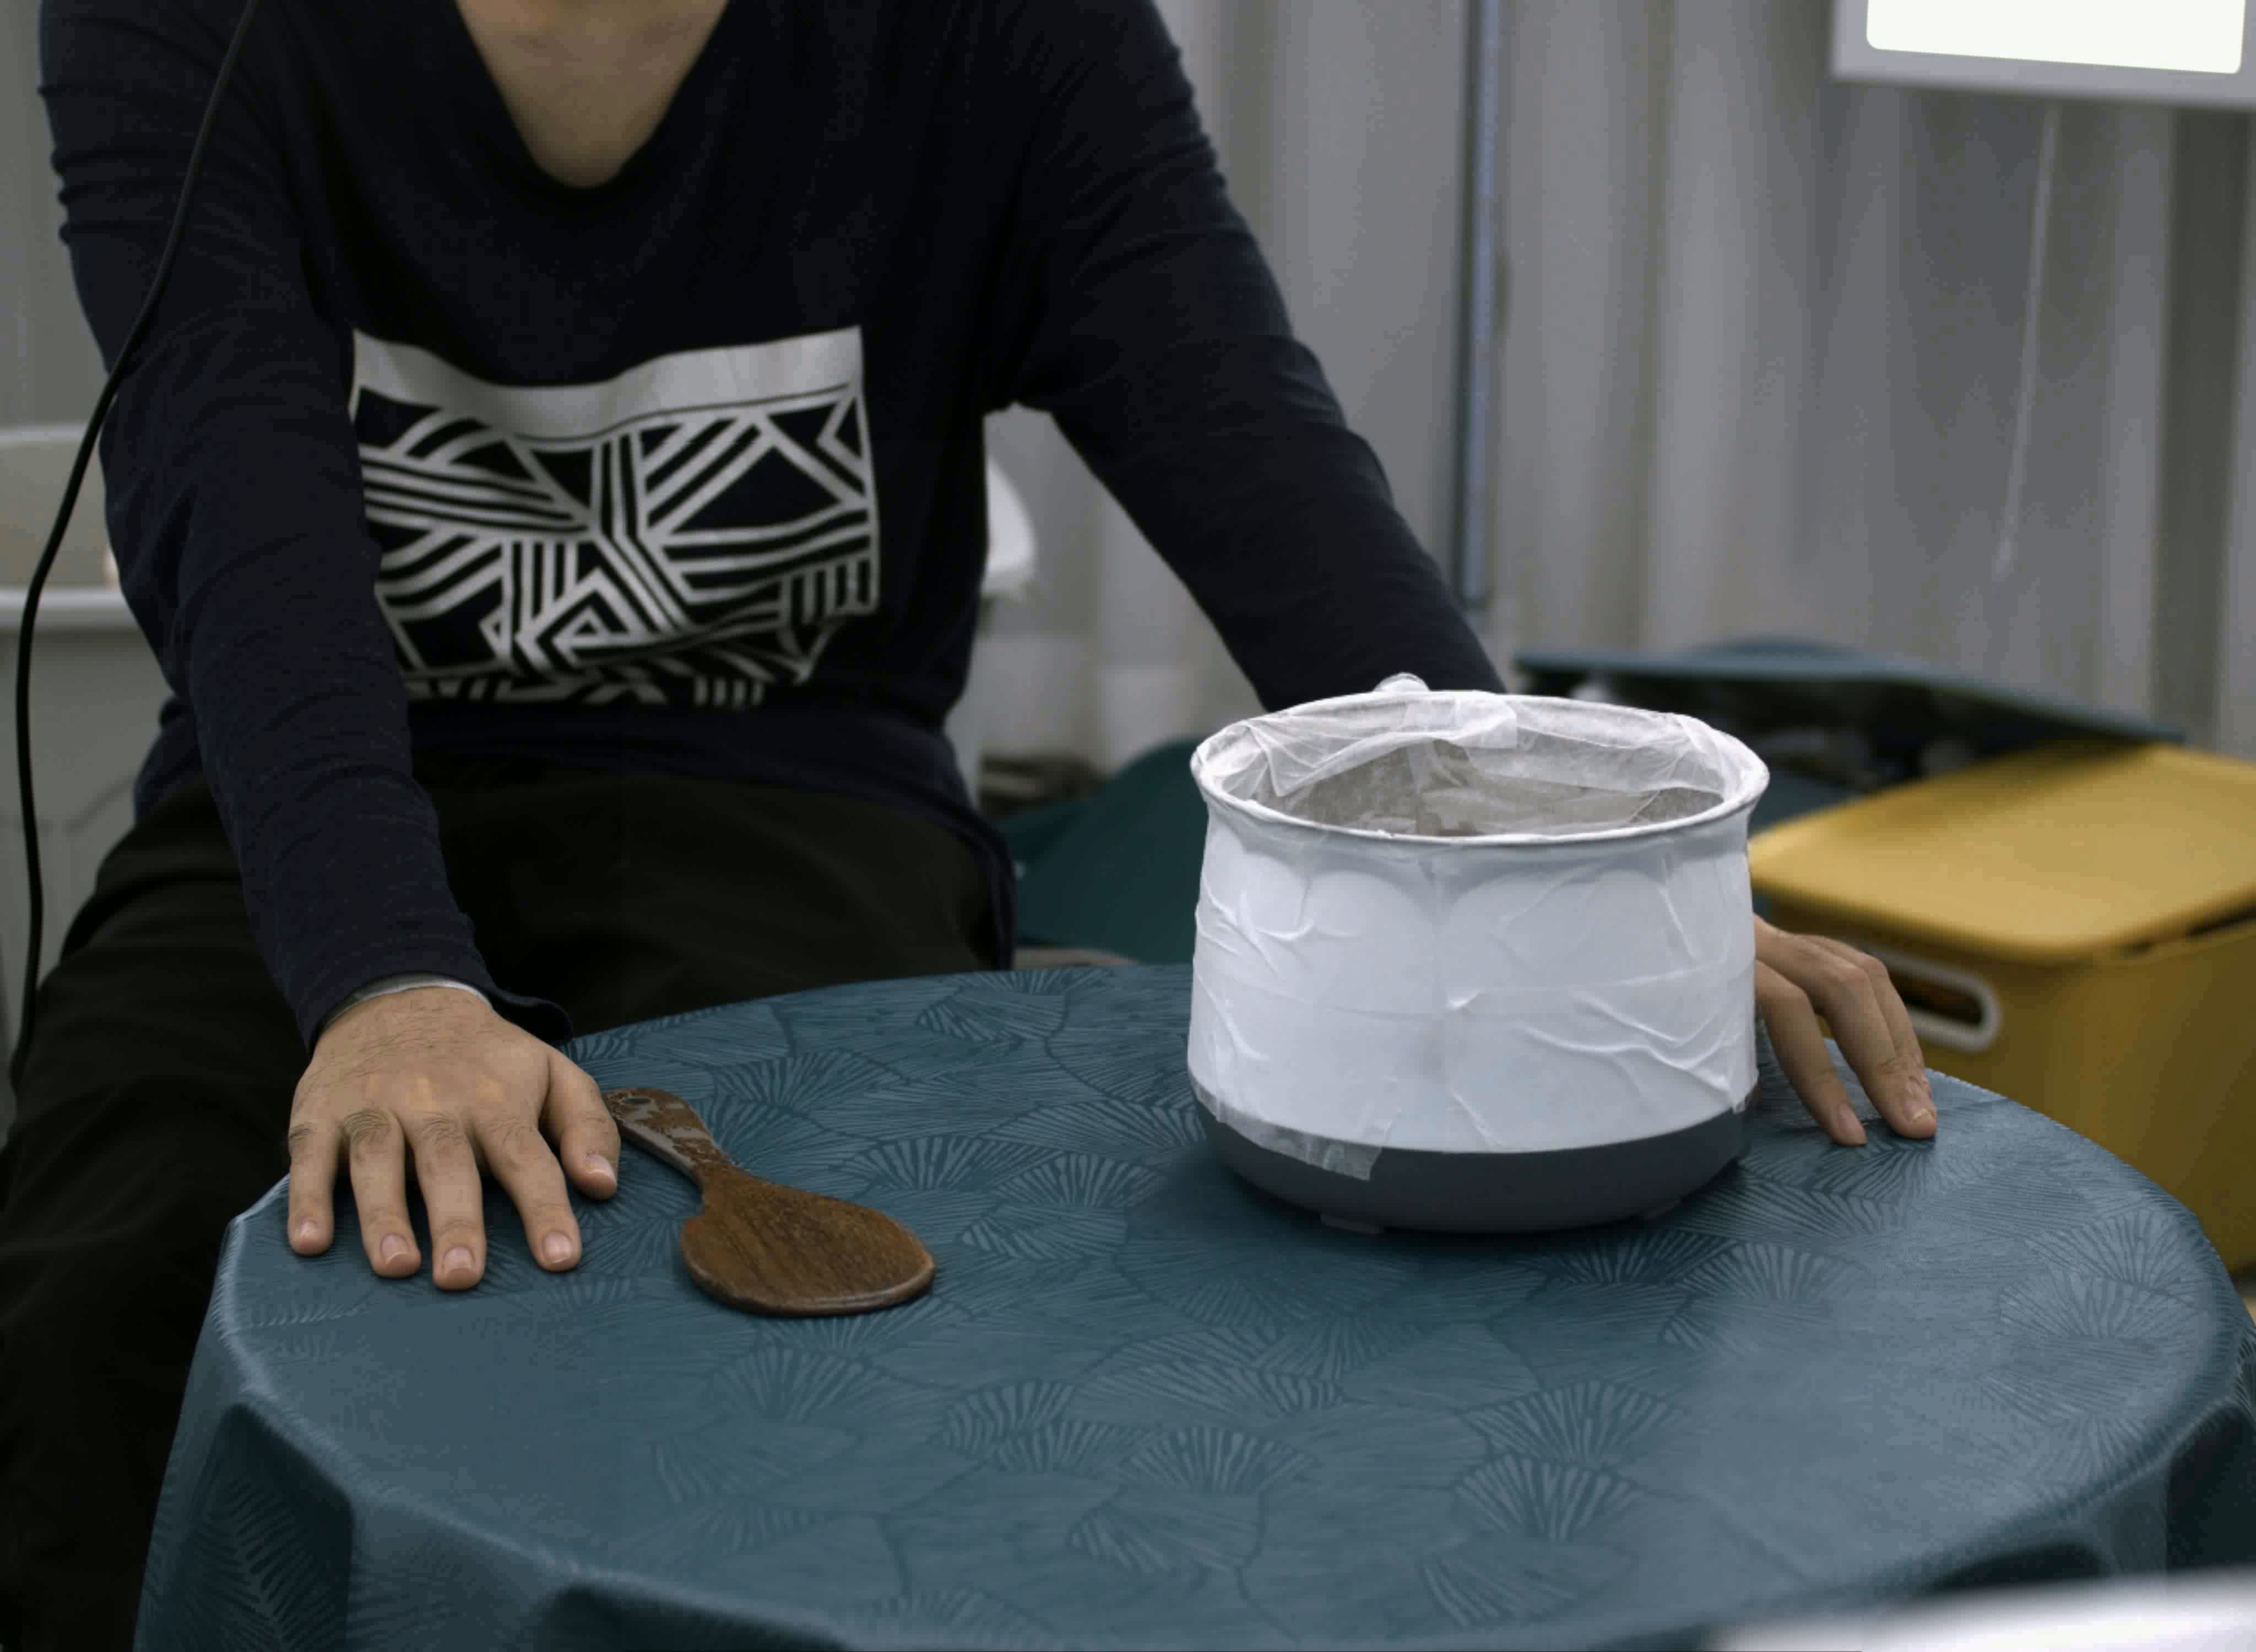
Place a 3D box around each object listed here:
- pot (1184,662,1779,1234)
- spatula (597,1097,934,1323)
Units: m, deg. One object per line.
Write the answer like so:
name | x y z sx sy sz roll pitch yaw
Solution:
pot | 0.101 0.033 1.652 0.179 0.138 0.231 0 17 -13
spatula | -0.120 0.114 1.609 0.072 0.009 0.213 -5 15 -22
